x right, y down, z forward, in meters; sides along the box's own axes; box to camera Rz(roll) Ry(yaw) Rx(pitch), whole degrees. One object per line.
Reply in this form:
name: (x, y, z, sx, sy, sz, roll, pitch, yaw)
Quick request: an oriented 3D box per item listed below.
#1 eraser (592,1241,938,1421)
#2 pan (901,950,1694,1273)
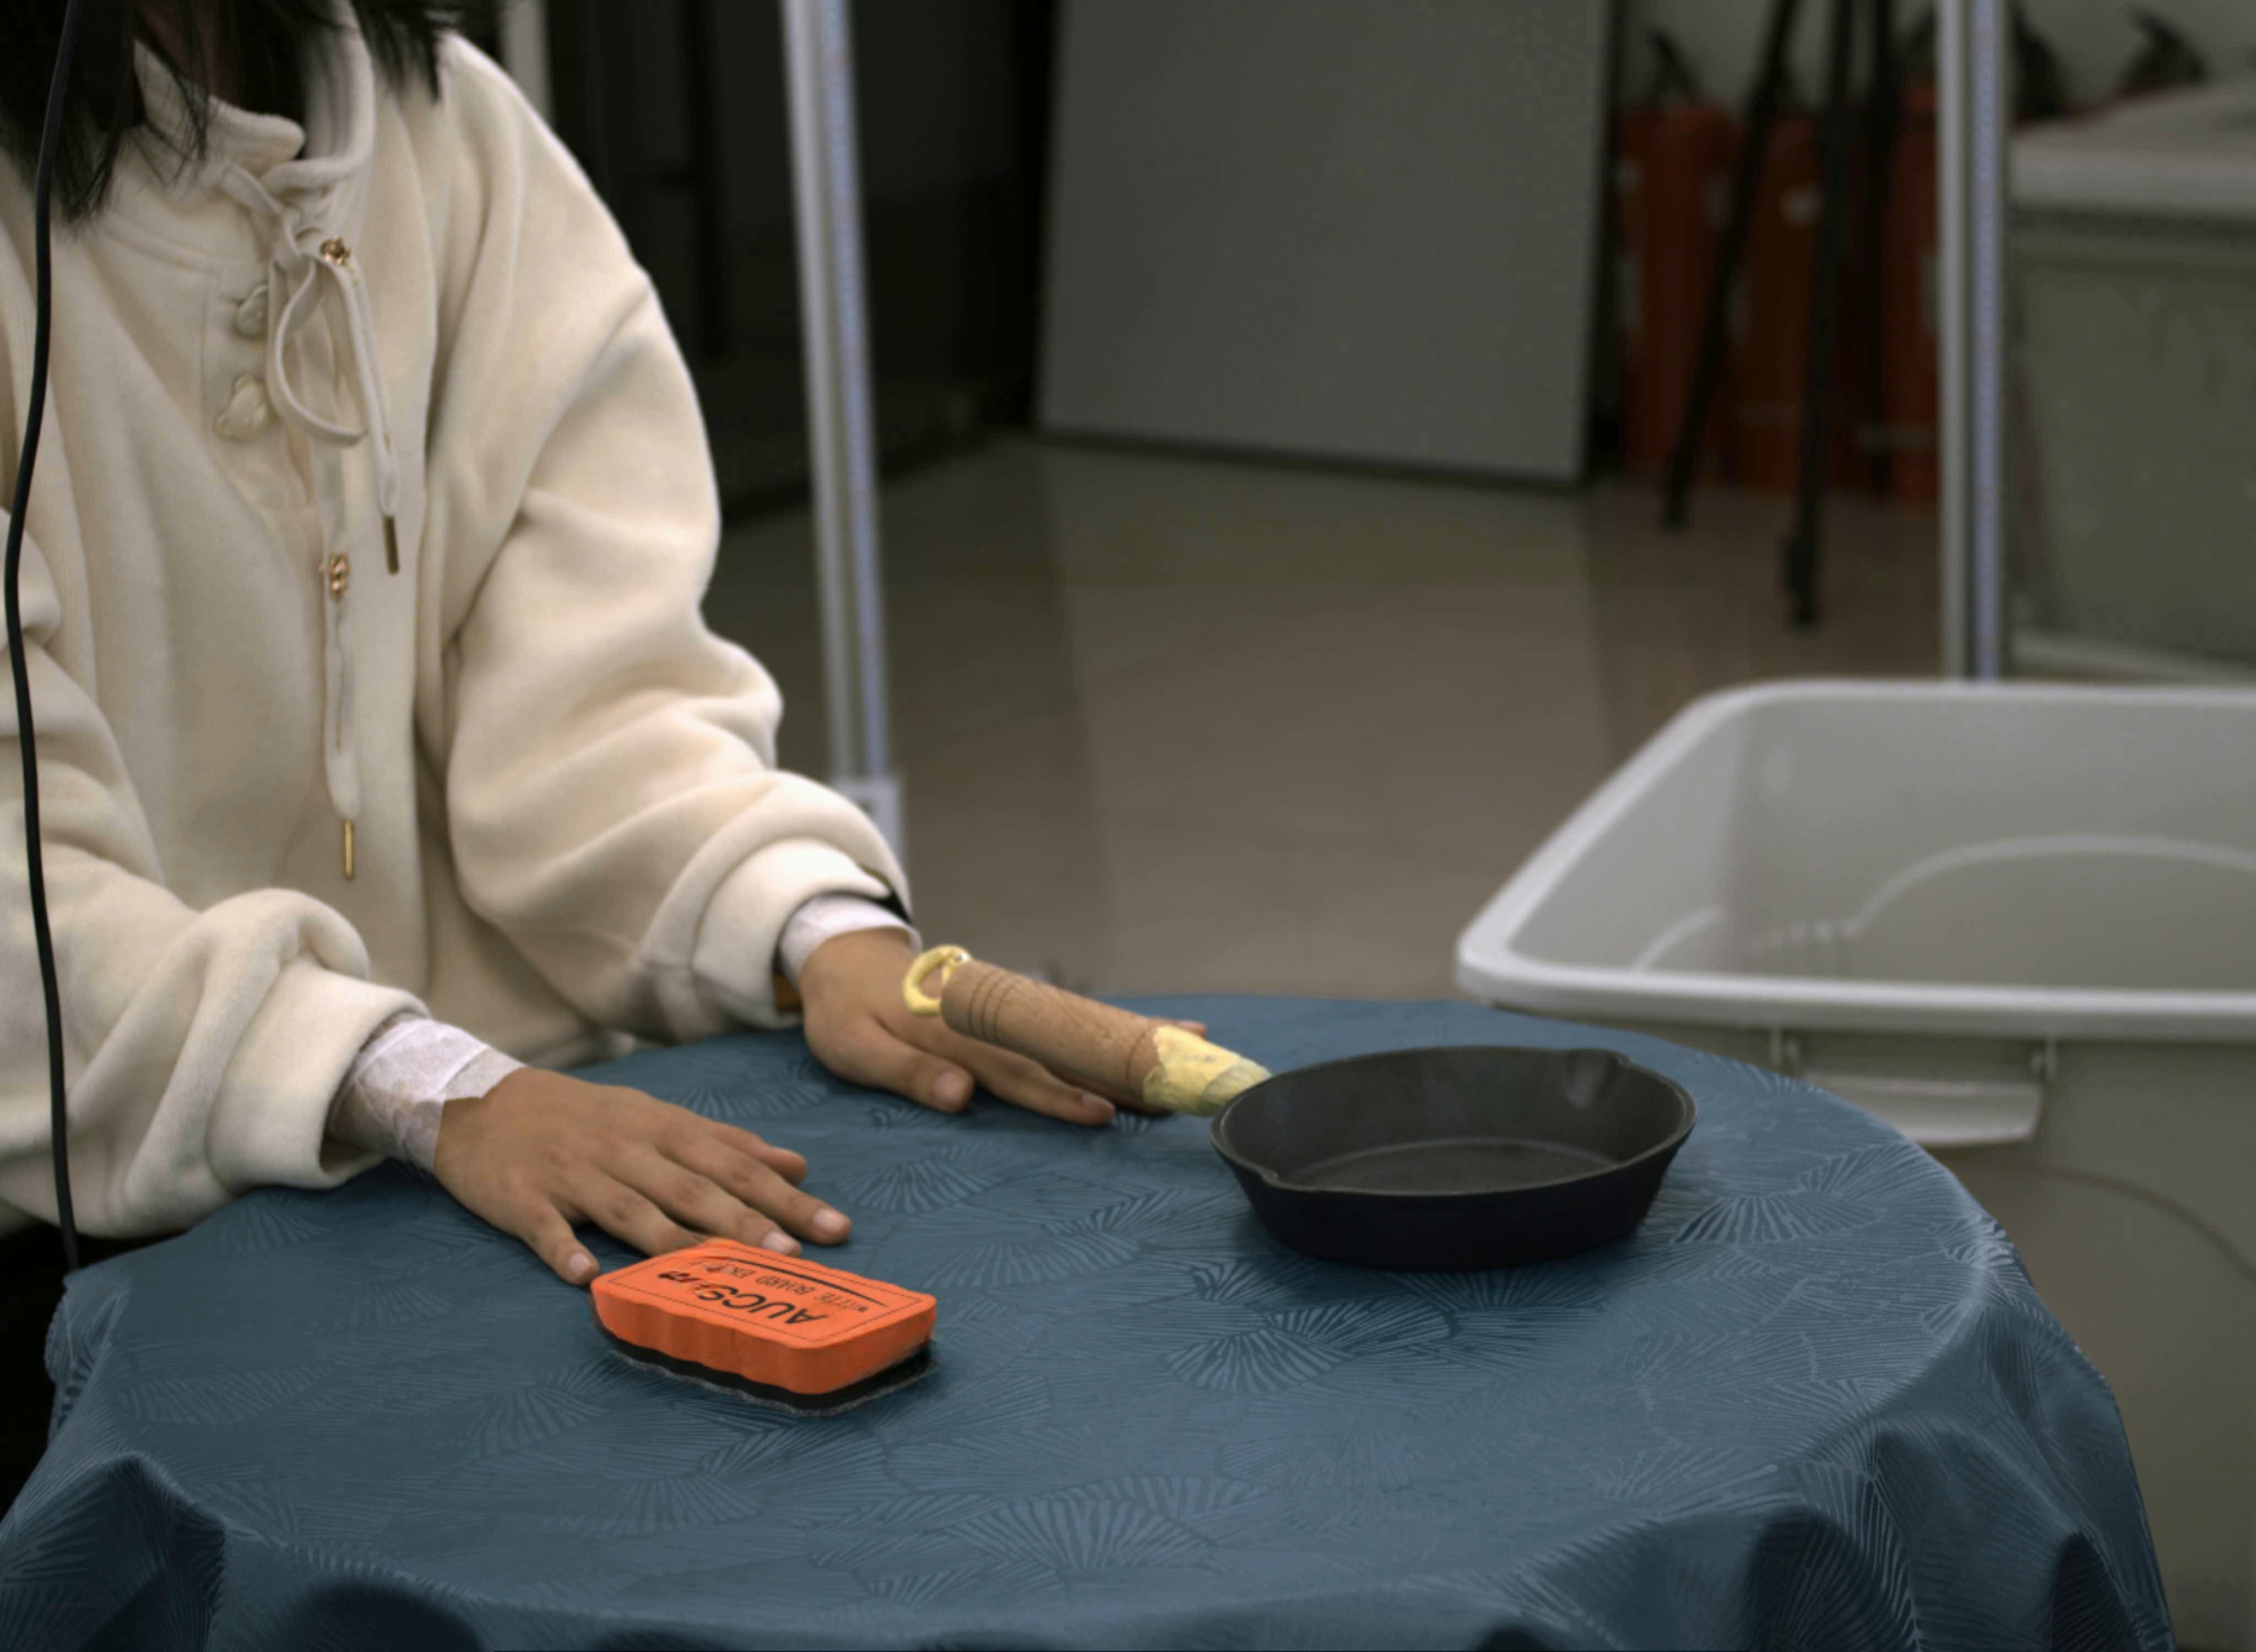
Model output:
eraser: (-0.109, 0.152, 1.630, 0.058, 0.023, 0.109, -16, 18, -41)
pan: (0.043, 0.089, 1.781, 0.327, 0.050, 0.165, 11, 21, 44)
